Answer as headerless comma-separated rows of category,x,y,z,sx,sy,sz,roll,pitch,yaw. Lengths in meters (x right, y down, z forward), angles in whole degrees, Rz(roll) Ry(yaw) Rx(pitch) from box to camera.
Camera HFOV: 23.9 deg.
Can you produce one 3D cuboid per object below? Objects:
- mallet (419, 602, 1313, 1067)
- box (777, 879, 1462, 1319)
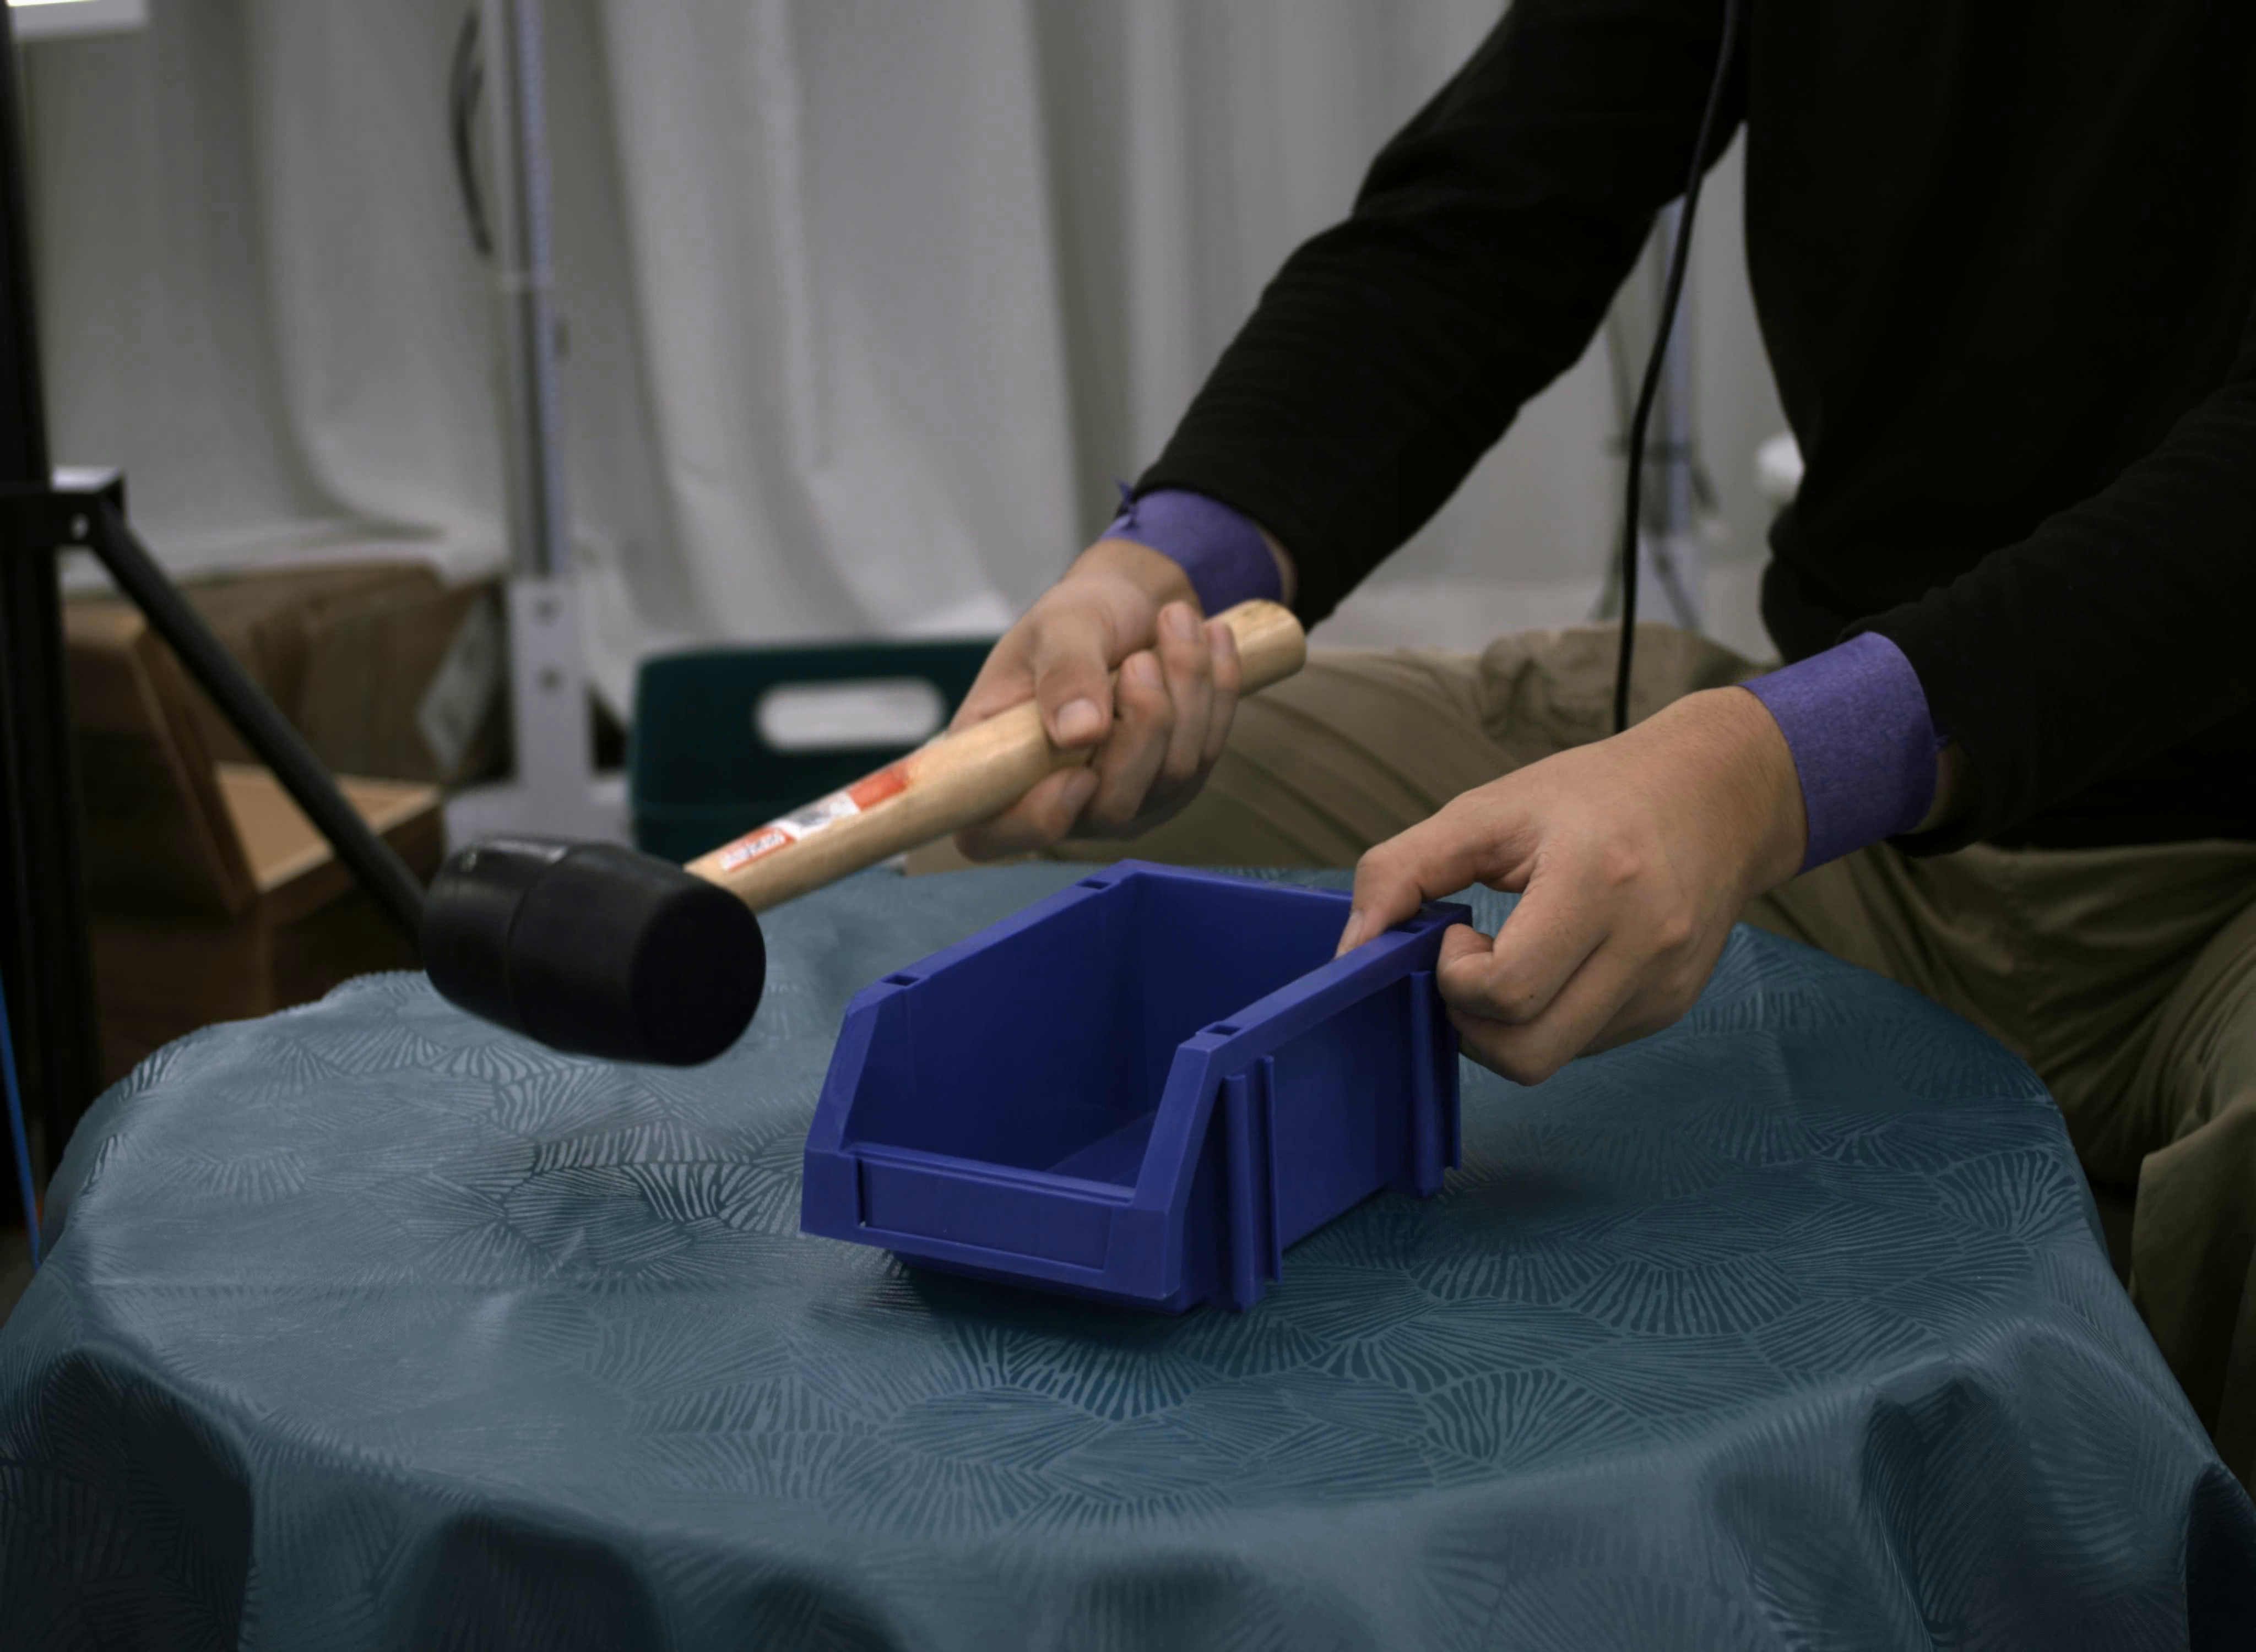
mallet,-0.067,-0.016,1.671,0.104,0.064,0.332,17,34,42
box,0.002,0.079,1.507,0.127,0.082,0.176,8,15,33
